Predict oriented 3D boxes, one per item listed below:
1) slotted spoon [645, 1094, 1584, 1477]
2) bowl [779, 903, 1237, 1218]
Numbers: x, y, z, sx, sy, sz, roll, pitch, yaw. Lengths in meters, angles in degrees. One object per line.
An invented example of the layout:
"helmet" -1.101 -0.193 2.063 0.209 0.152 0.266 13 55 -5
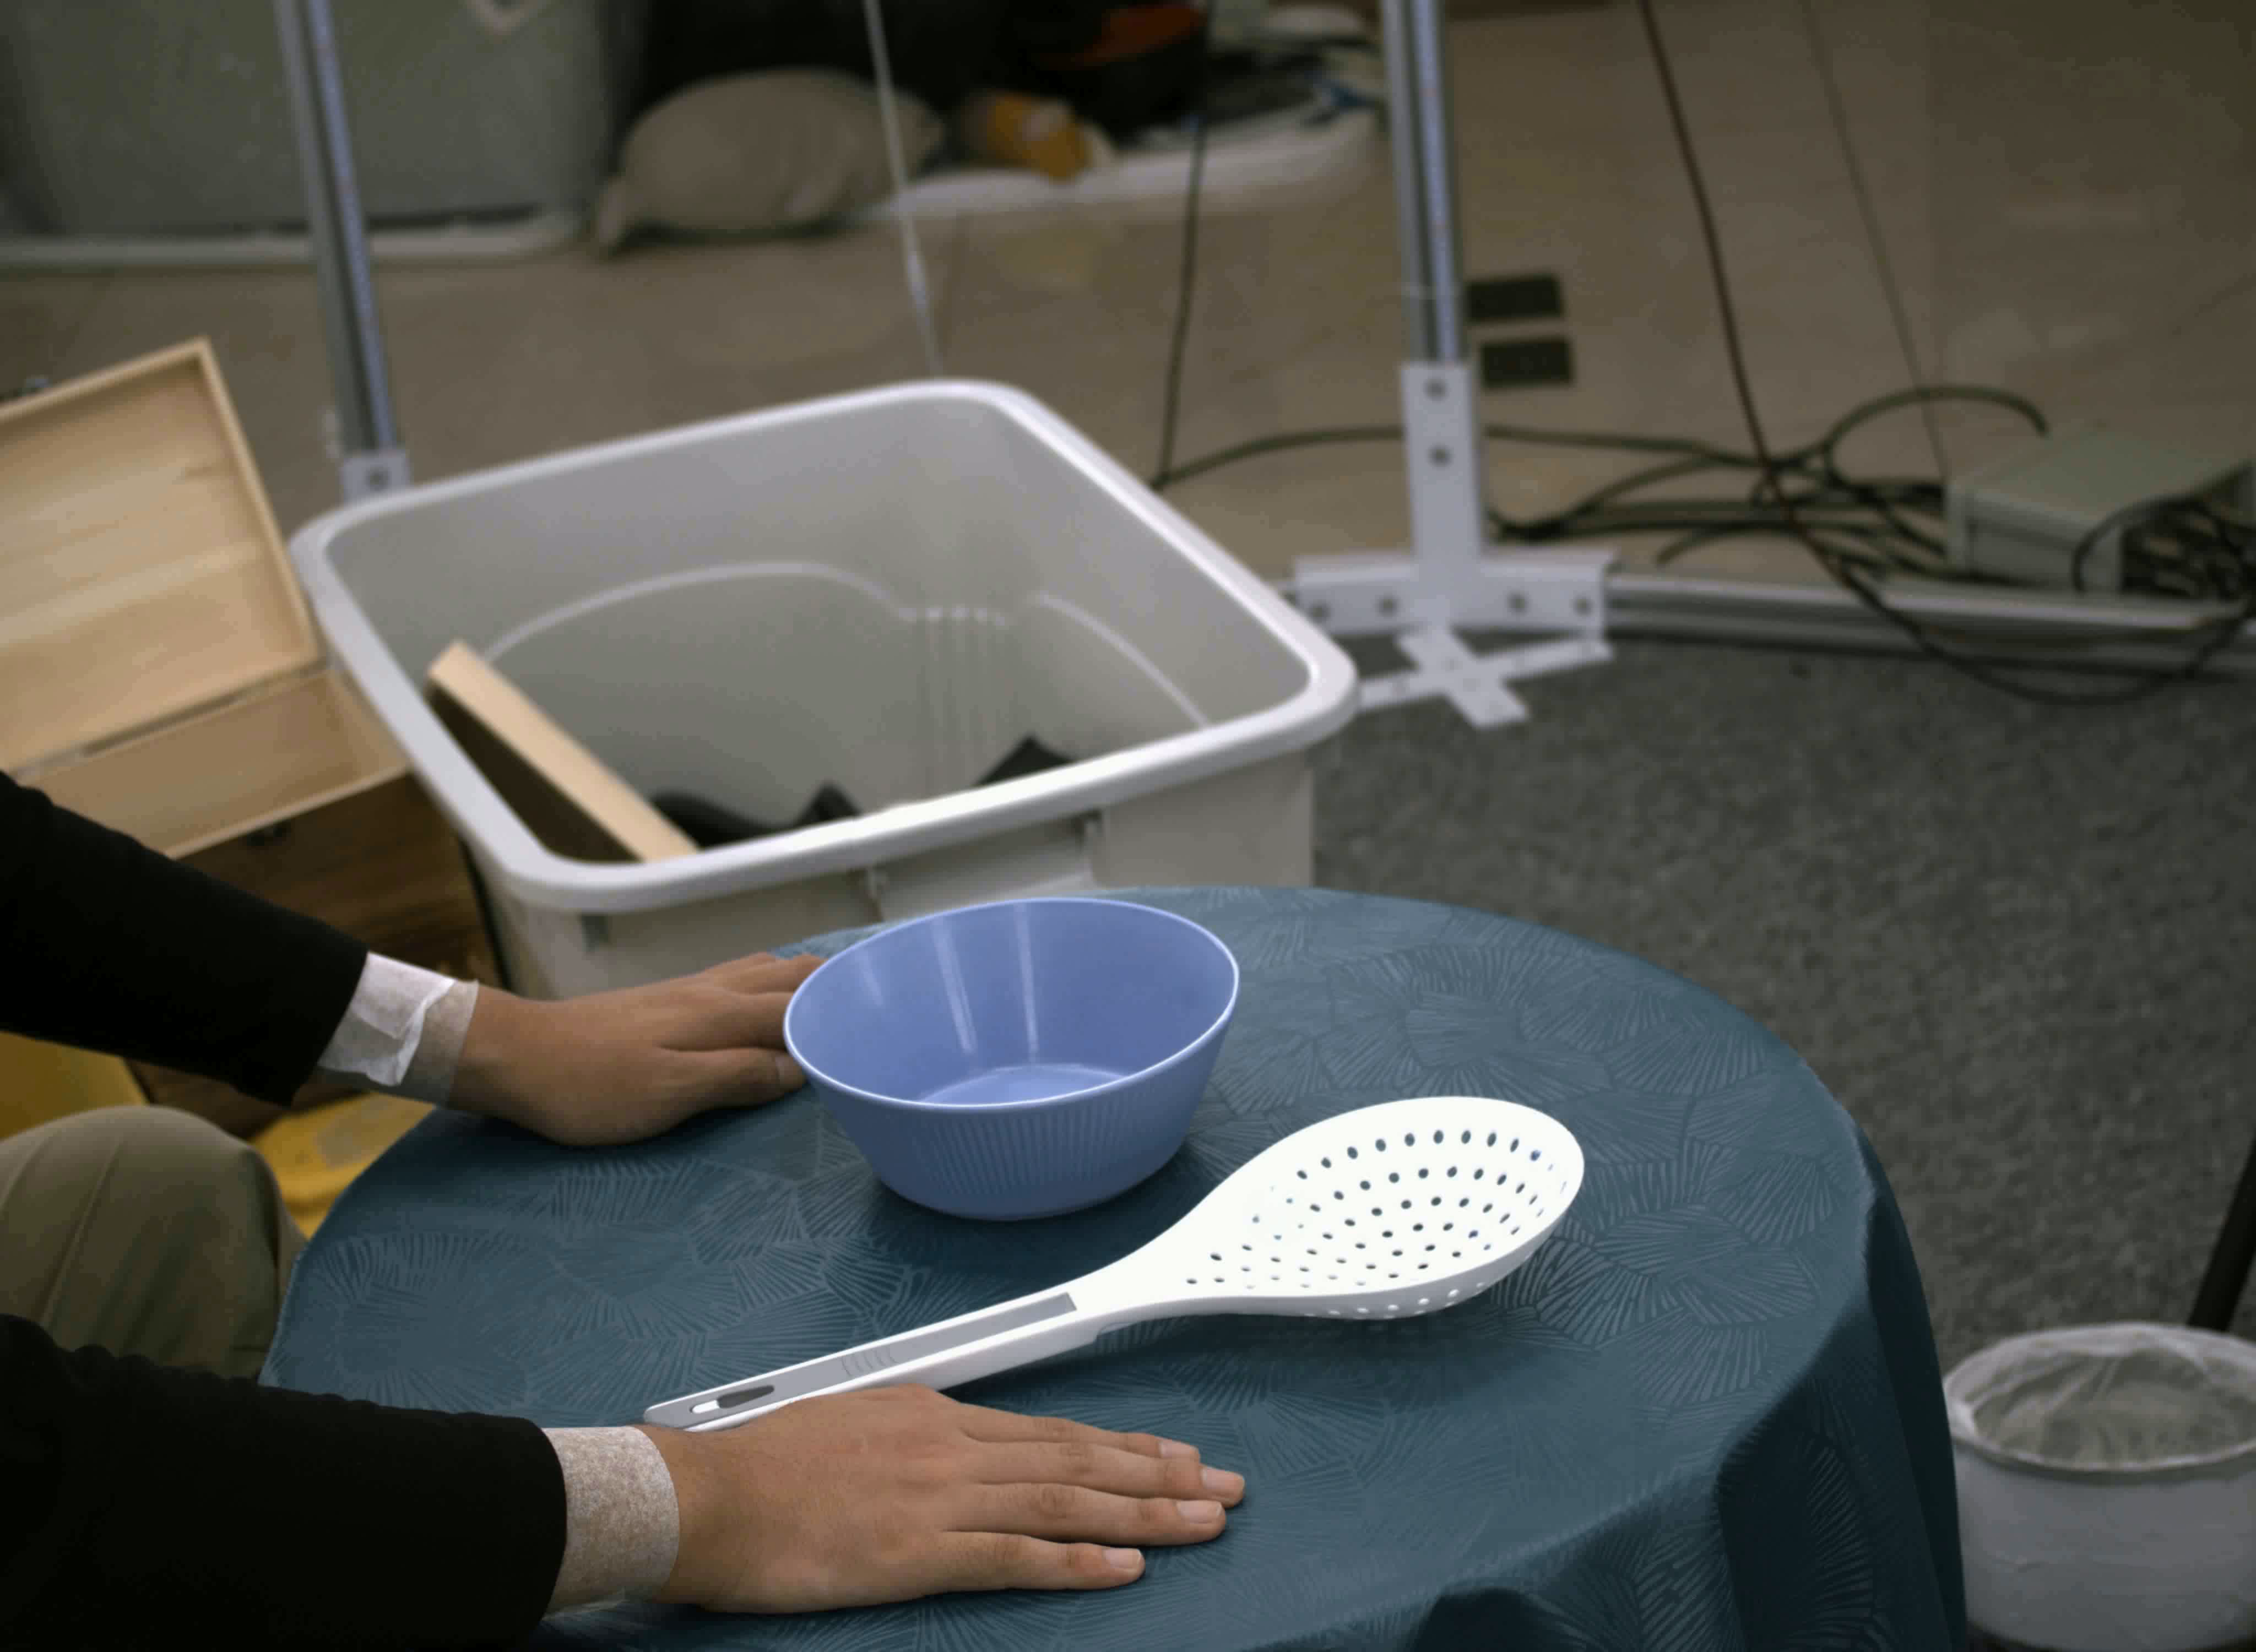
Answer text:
"slotted spoon" -0.003 0.169 2.029 0.349 0.046 0.134 -13 26 -11
"bowl" -0.042 0.095 2.169 0.176 0.071 0.173 -6 25 3
